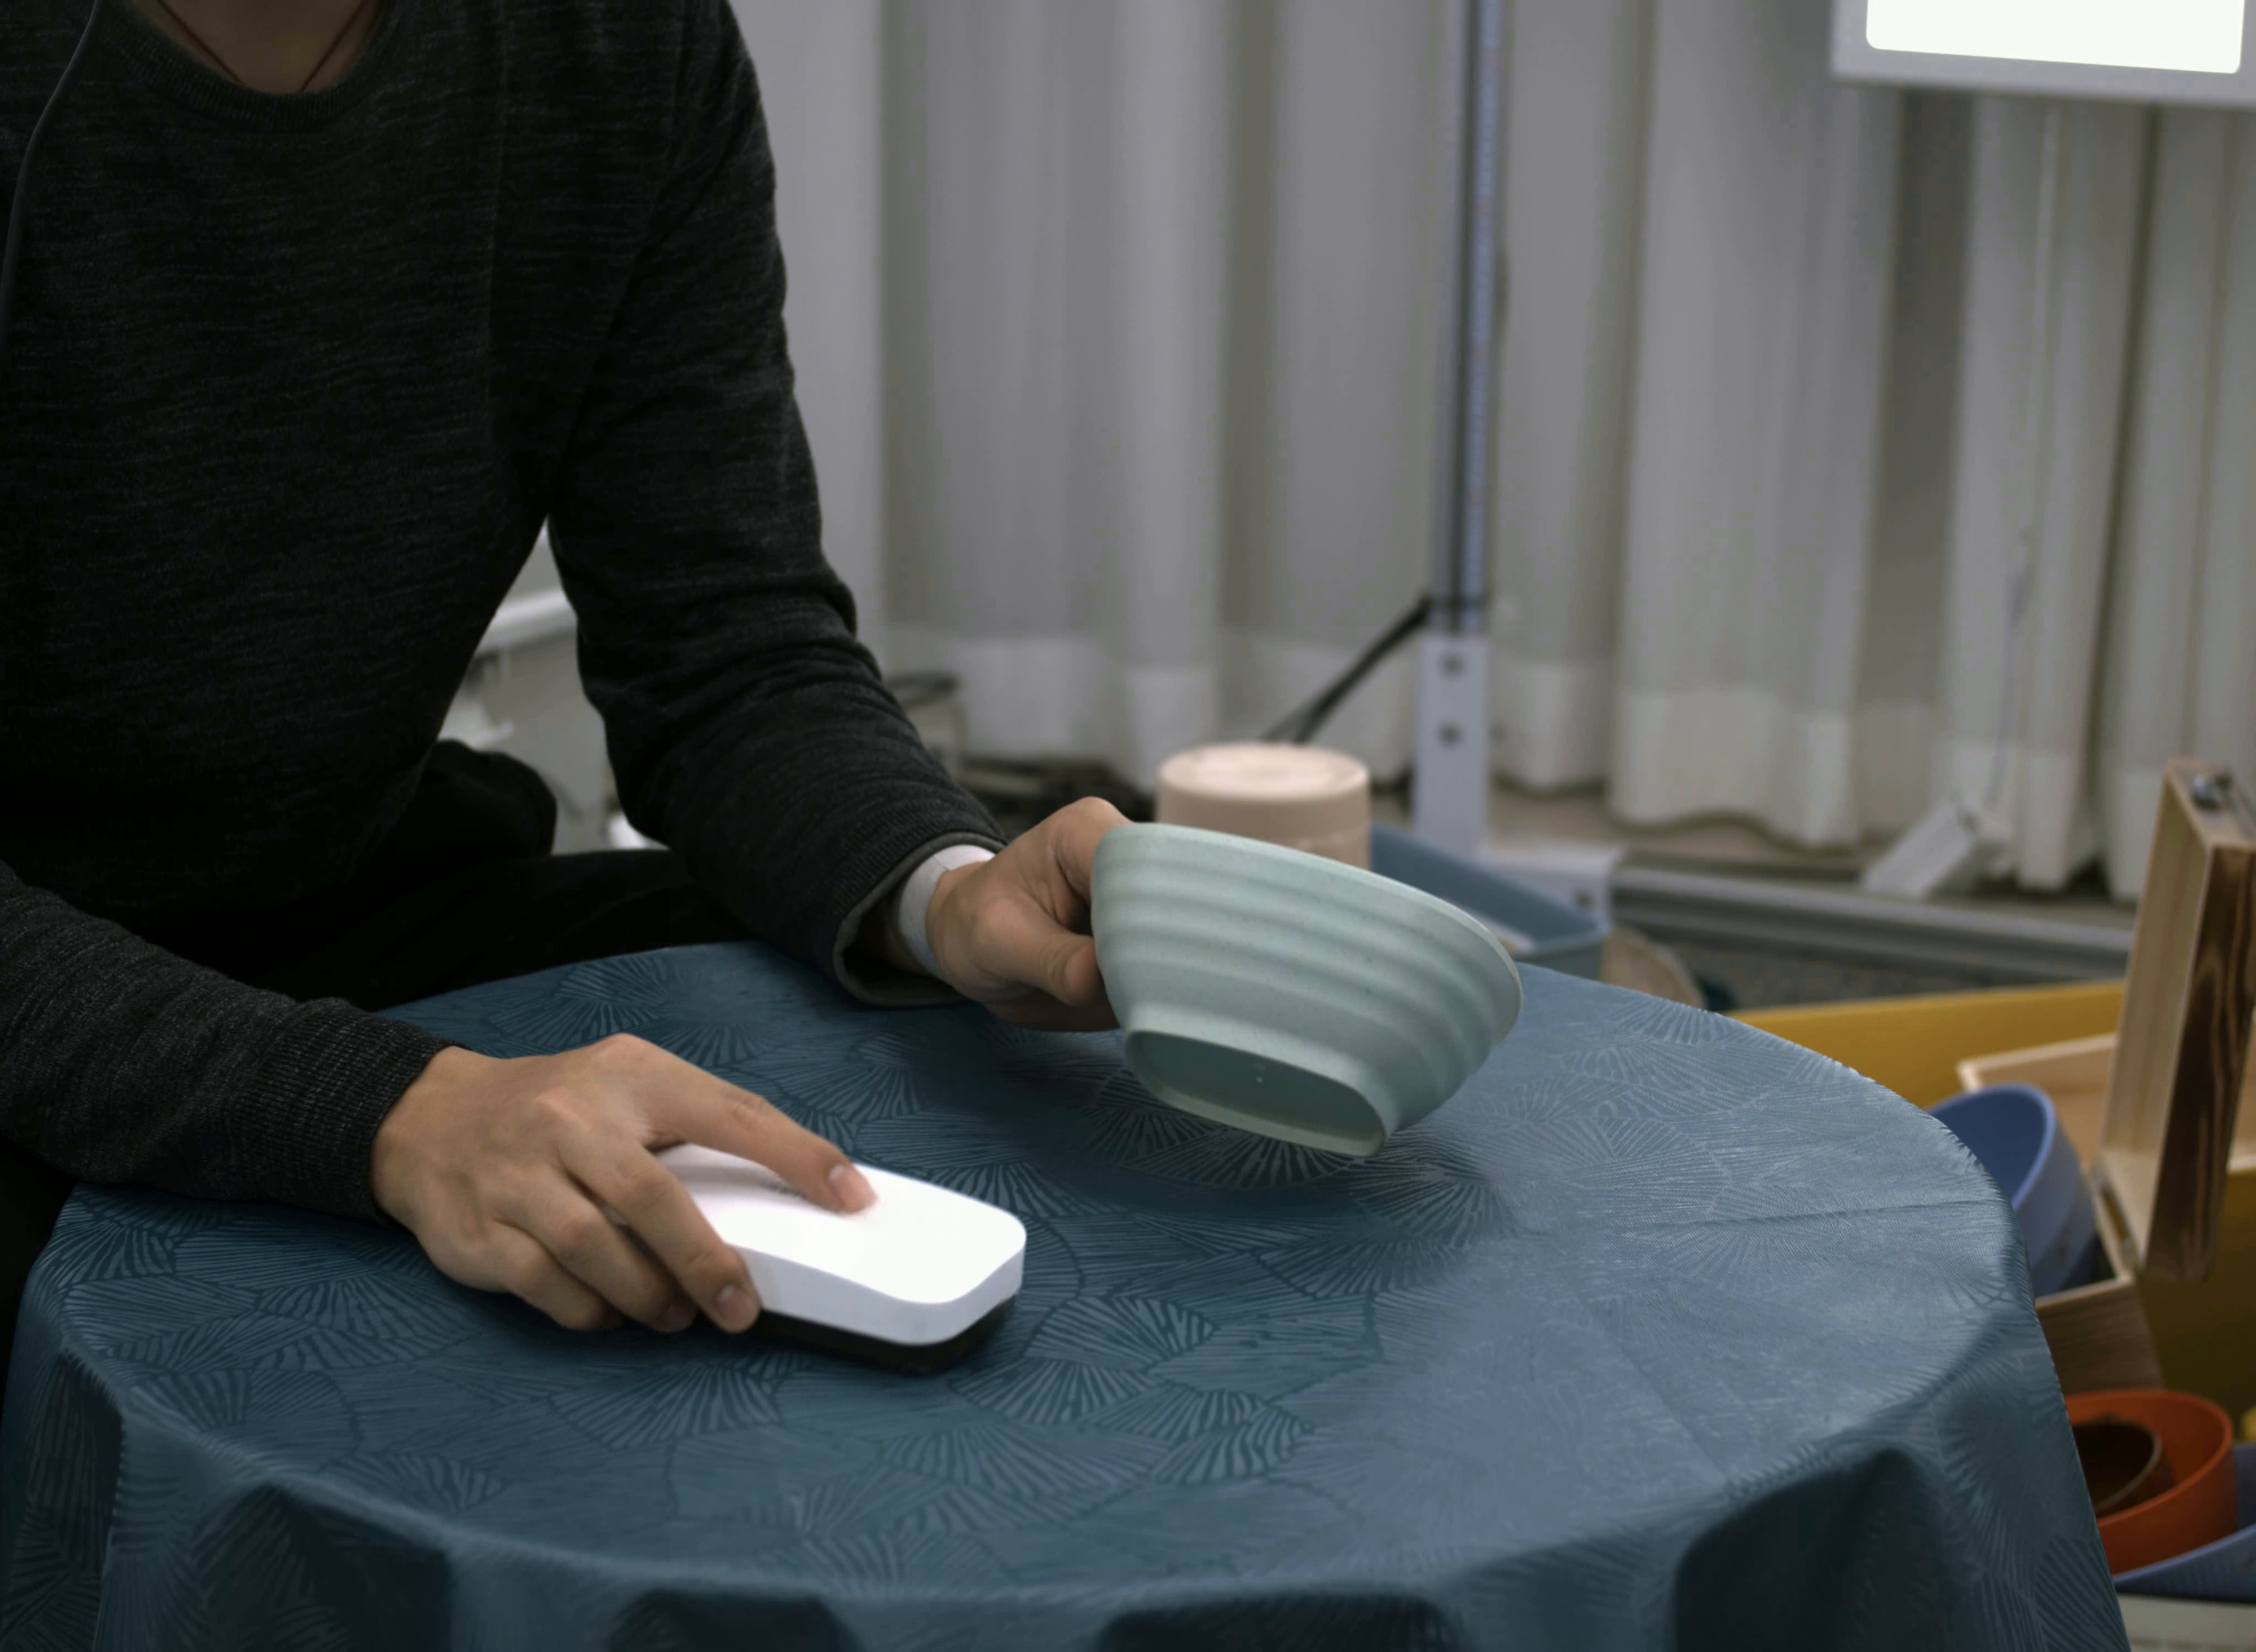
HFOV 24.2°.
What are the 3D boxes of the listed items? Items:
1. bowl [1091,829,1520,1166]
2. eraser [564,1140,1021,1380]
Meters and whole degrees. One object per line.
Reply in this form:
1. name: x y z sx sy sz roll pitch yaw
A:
1. bowl: 0.047 0.059 1.625 0.150 0.058 0.152 18 -17 6
2. eraser: -0.096 0.121 1.507 0.130 0.035 0.063 13 25 27
